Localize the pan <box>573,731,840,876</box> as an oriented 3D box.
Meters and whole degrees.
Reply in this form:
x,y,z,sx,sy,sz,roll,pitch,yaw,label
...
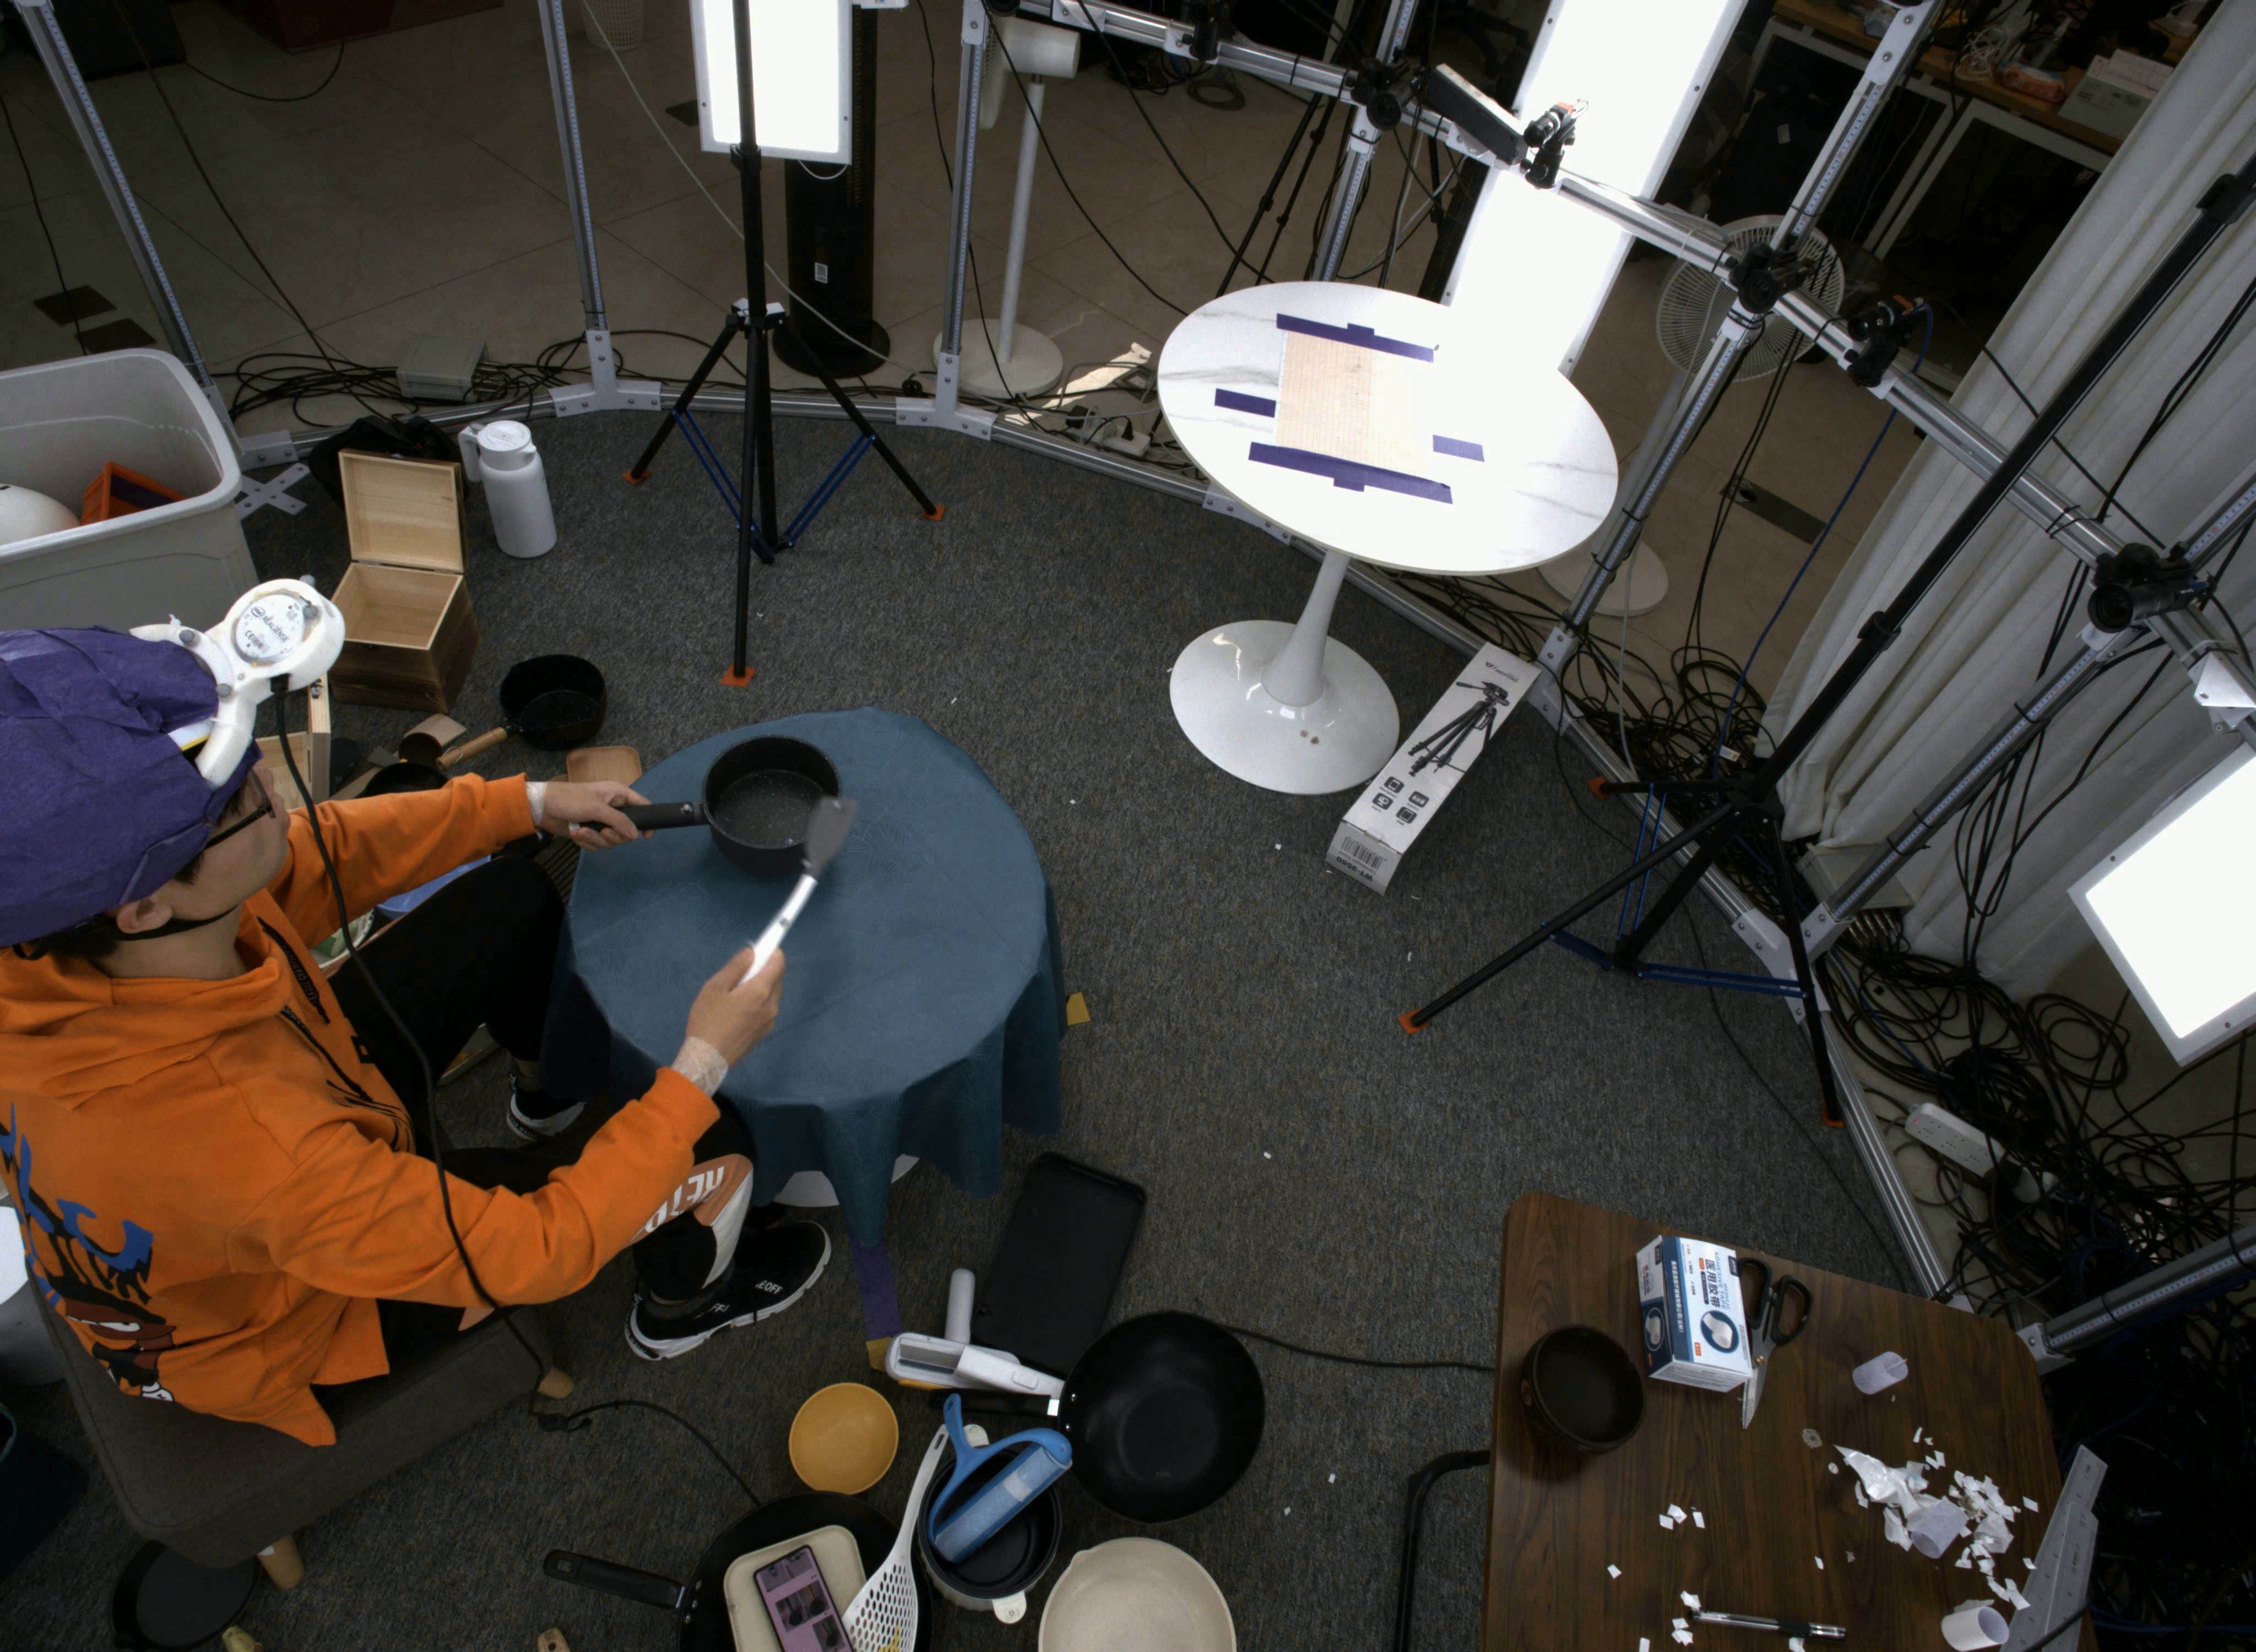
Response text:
x,y,z,sx,sy,sz,roll,pitch,yaw,label
-0.522,-0.017,1.597,0.330,0.088,0.168,-8,60,-21,pan

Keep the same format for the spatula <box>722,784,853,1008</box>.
x,y,z,sx,sy,sz,roll,pitch,yaw,label
-0.380,0.070,1.446,0.057,0.033,0.285,6,54,17,spatula
